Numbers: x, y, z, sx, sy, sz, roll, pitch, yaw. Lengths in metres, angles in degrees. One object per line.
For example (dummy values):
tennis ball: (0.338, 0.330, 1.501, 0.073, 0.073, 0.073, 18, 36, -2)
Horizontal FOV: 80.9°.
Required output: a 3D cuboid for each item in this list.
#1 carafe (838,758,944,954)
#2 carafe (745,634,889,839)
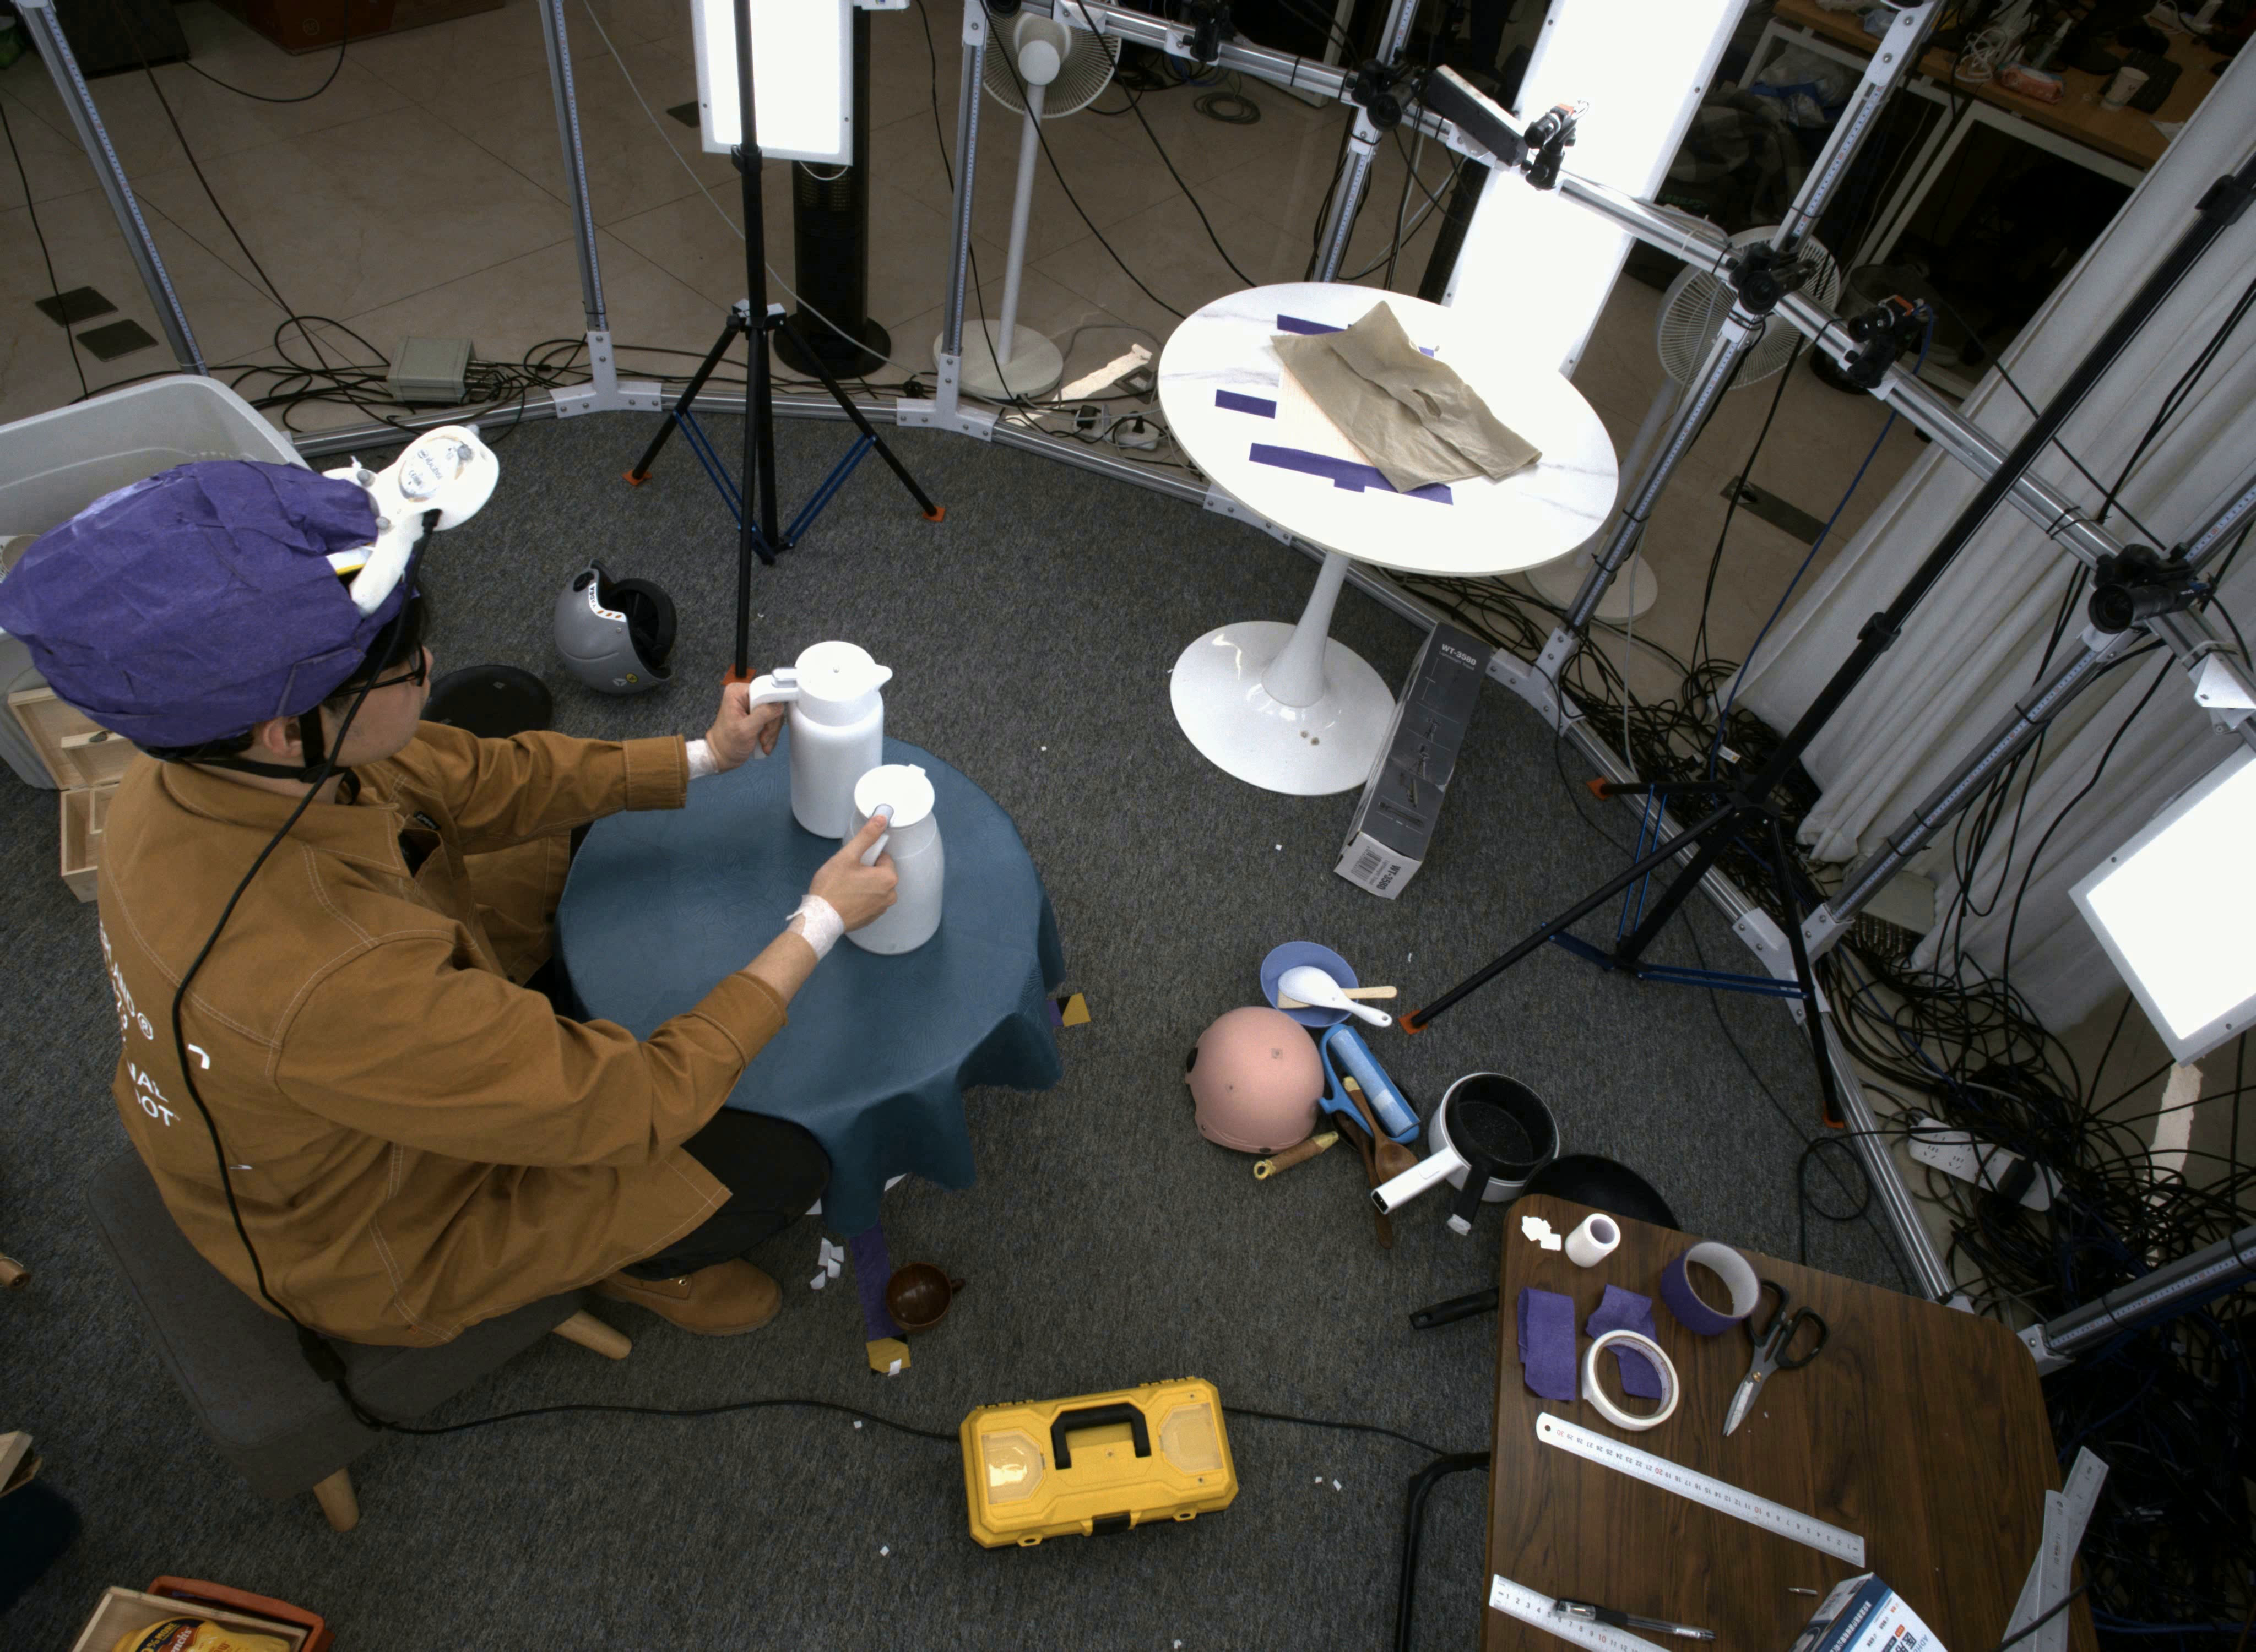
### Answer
carafe: (-0.292, 0.044, 1.561, 0.131, 0.254, 0.166, 21, 52, 5)
carafe: (-0.389, -0.107, 1.638, 0.173, 0.274, 0.121, -7, 56, -17)
